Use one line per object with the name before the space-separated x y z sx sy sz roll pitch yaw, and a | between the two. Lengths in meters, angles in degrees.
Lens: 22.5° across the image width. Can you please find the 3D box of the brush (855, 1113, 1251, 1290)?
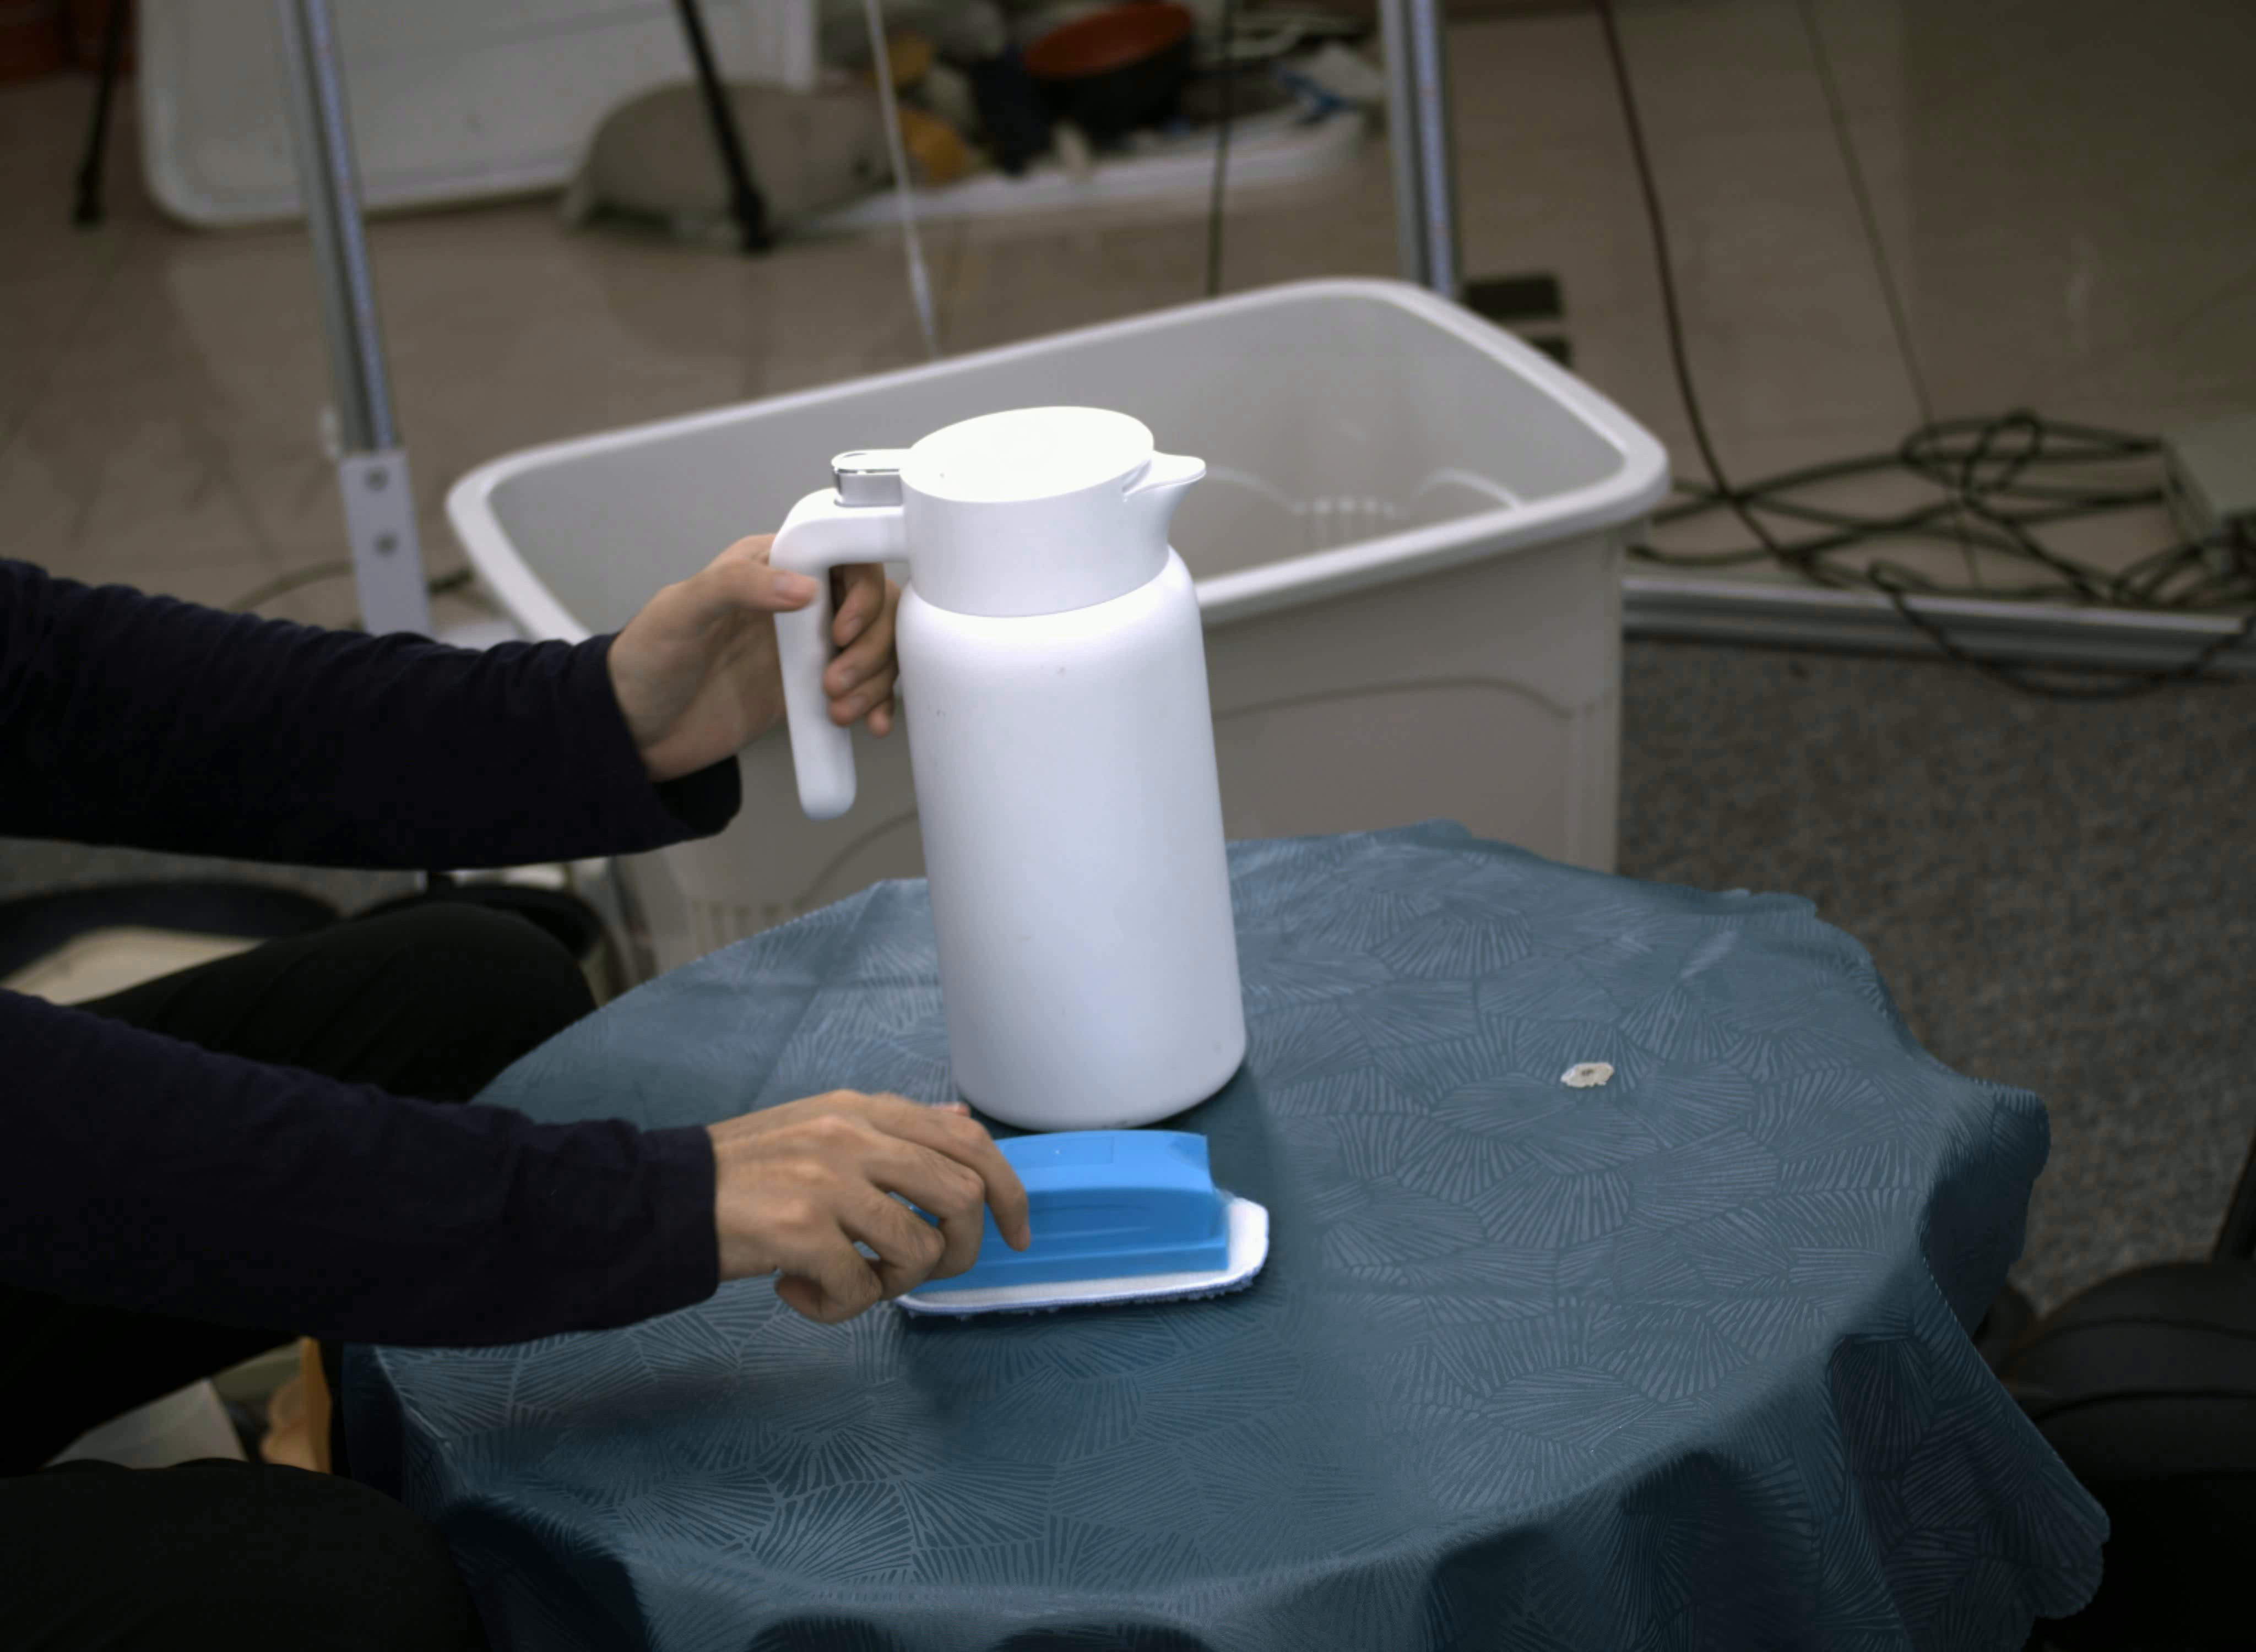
brush | -0.027 0.136 2.084 0.144 0.057 0.083 -1 23 4

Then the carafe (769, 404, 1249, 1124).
carafe | -0.041 -0.020 2.180 0.172 0.273 0.122 -3 27 9
